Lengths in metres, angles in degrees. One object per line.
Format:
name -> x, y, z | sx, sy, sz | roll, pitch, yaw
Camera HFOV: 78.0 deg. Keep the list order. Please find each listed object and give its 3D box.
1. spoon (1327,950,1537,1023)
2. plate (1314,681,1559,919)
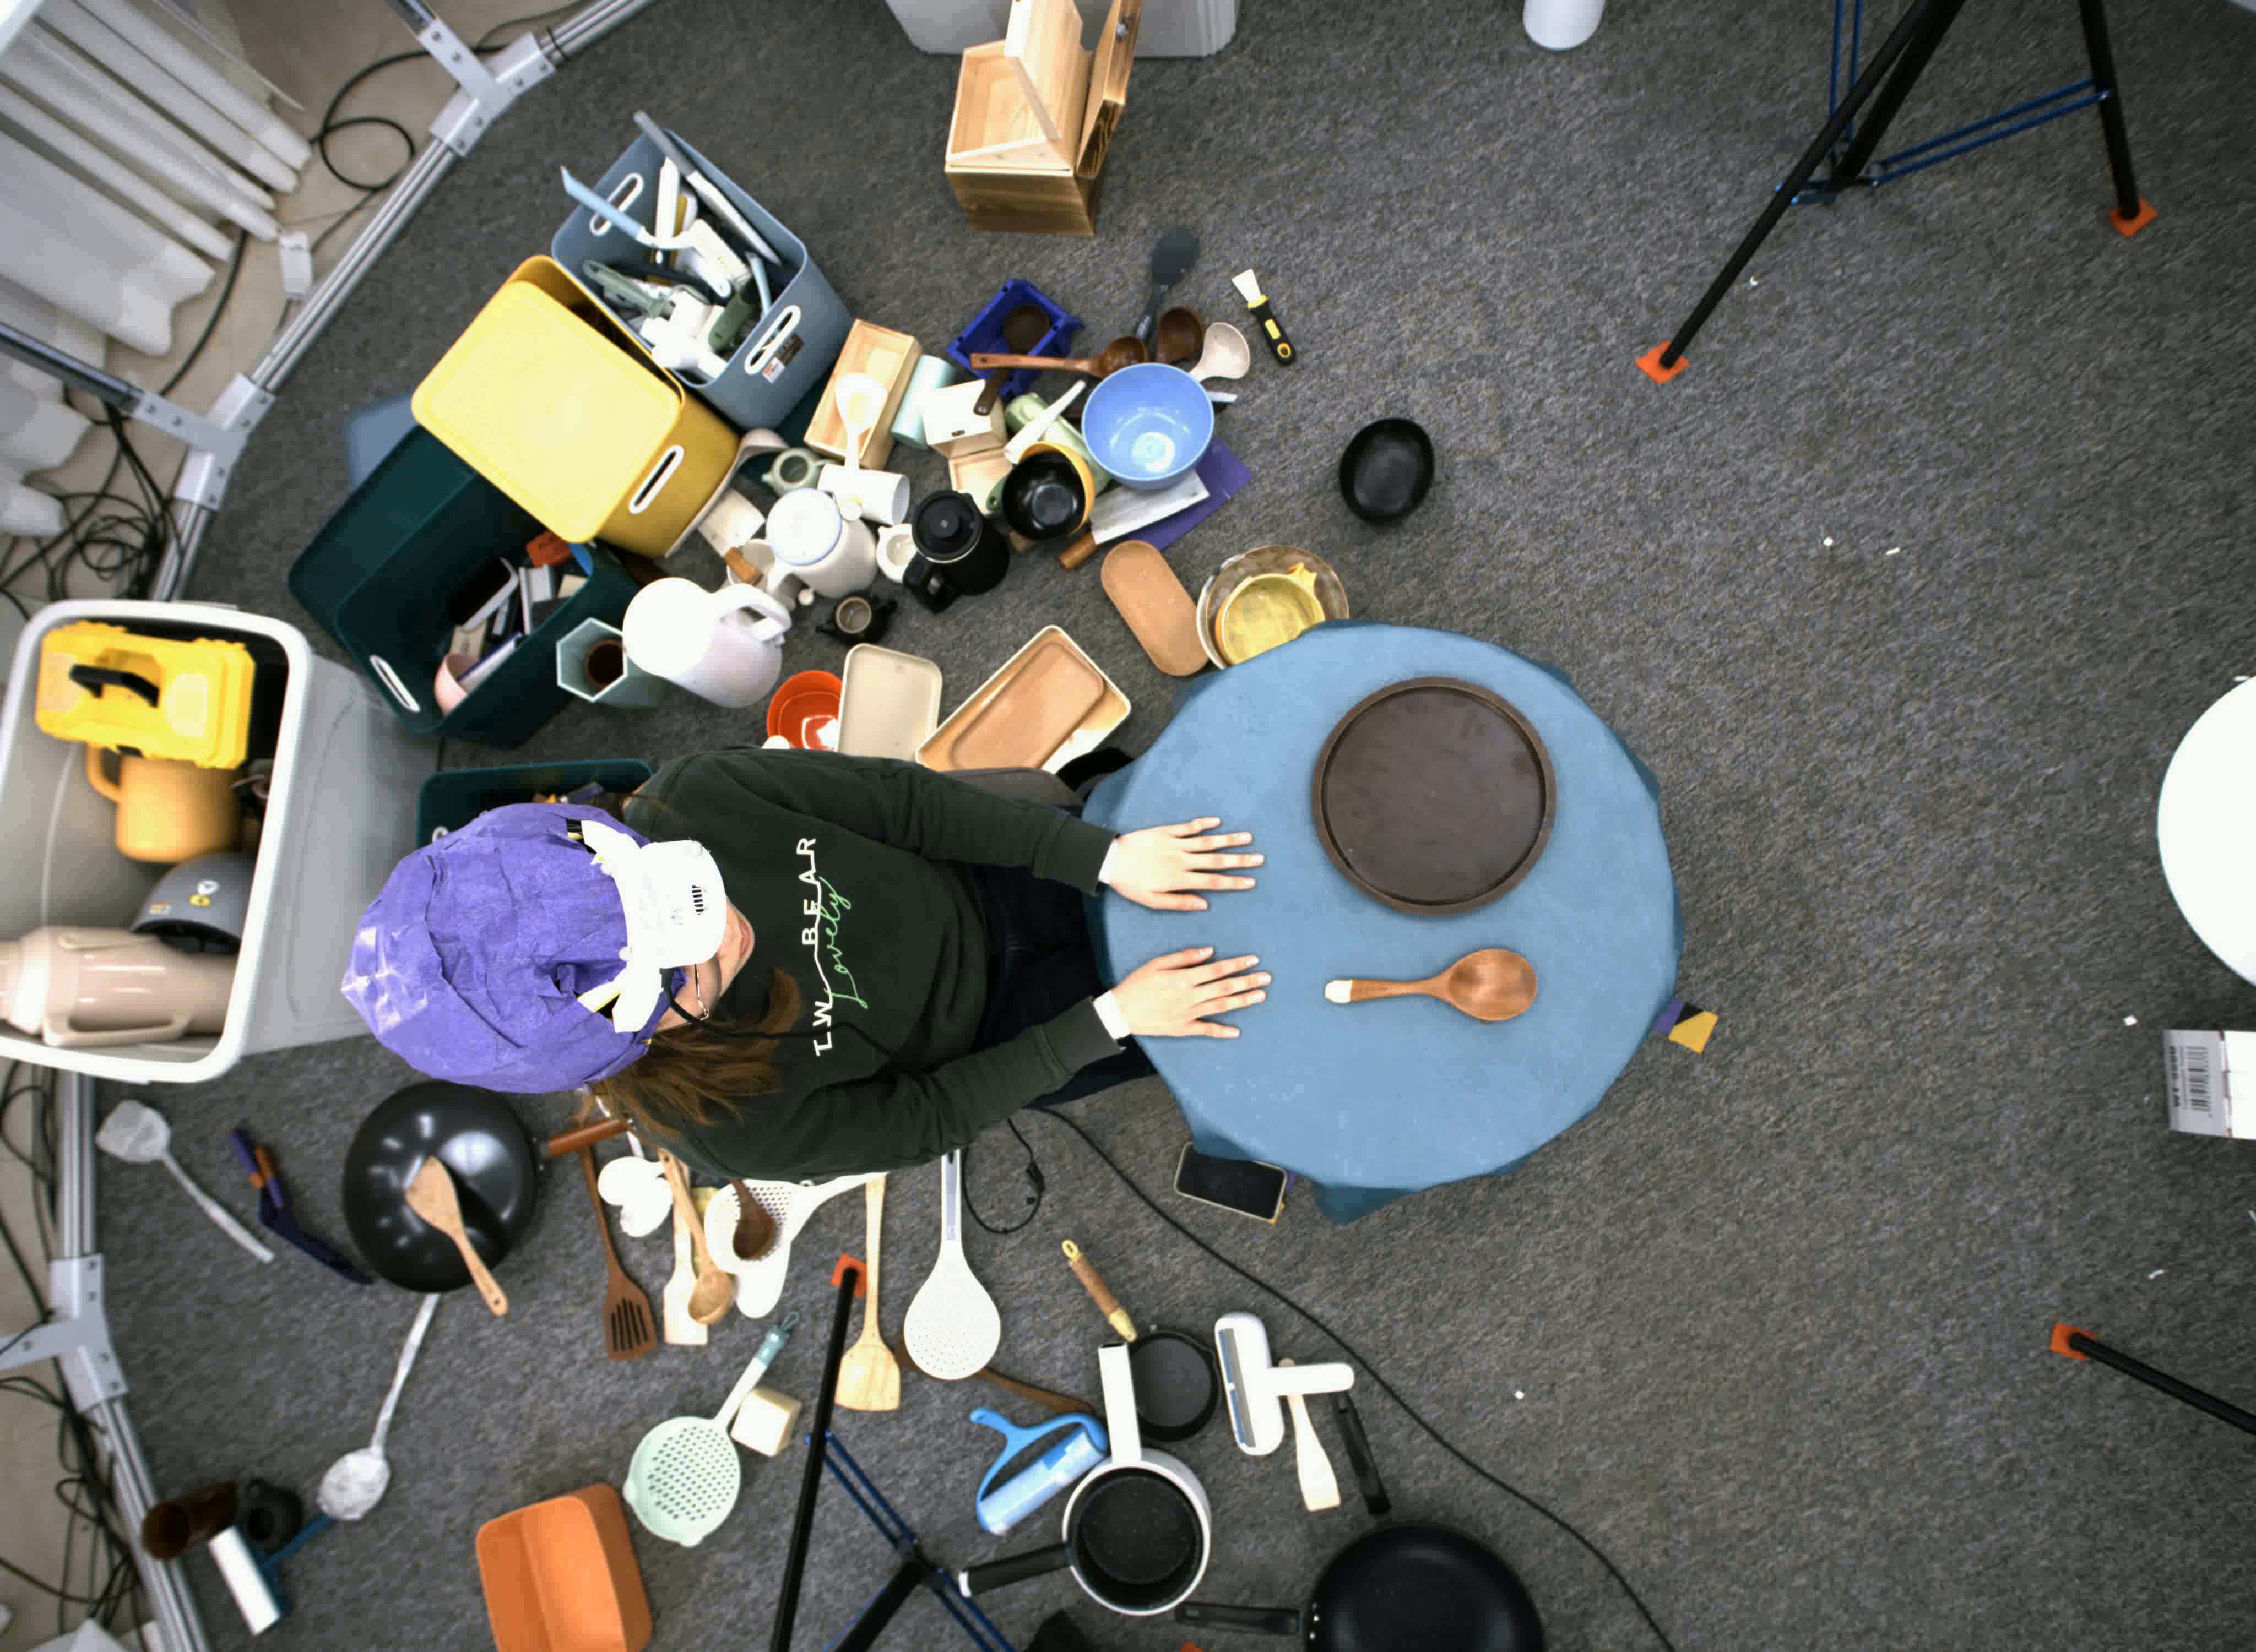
spoon -> 0.316, 0.169, 1.441 | 0.217, 0.017, 0.075 | -4, 85, 10
plate -> 0.323, -0.030, 1.451 | 0.256, 0.029, 0.253 | -1, 85, 9
